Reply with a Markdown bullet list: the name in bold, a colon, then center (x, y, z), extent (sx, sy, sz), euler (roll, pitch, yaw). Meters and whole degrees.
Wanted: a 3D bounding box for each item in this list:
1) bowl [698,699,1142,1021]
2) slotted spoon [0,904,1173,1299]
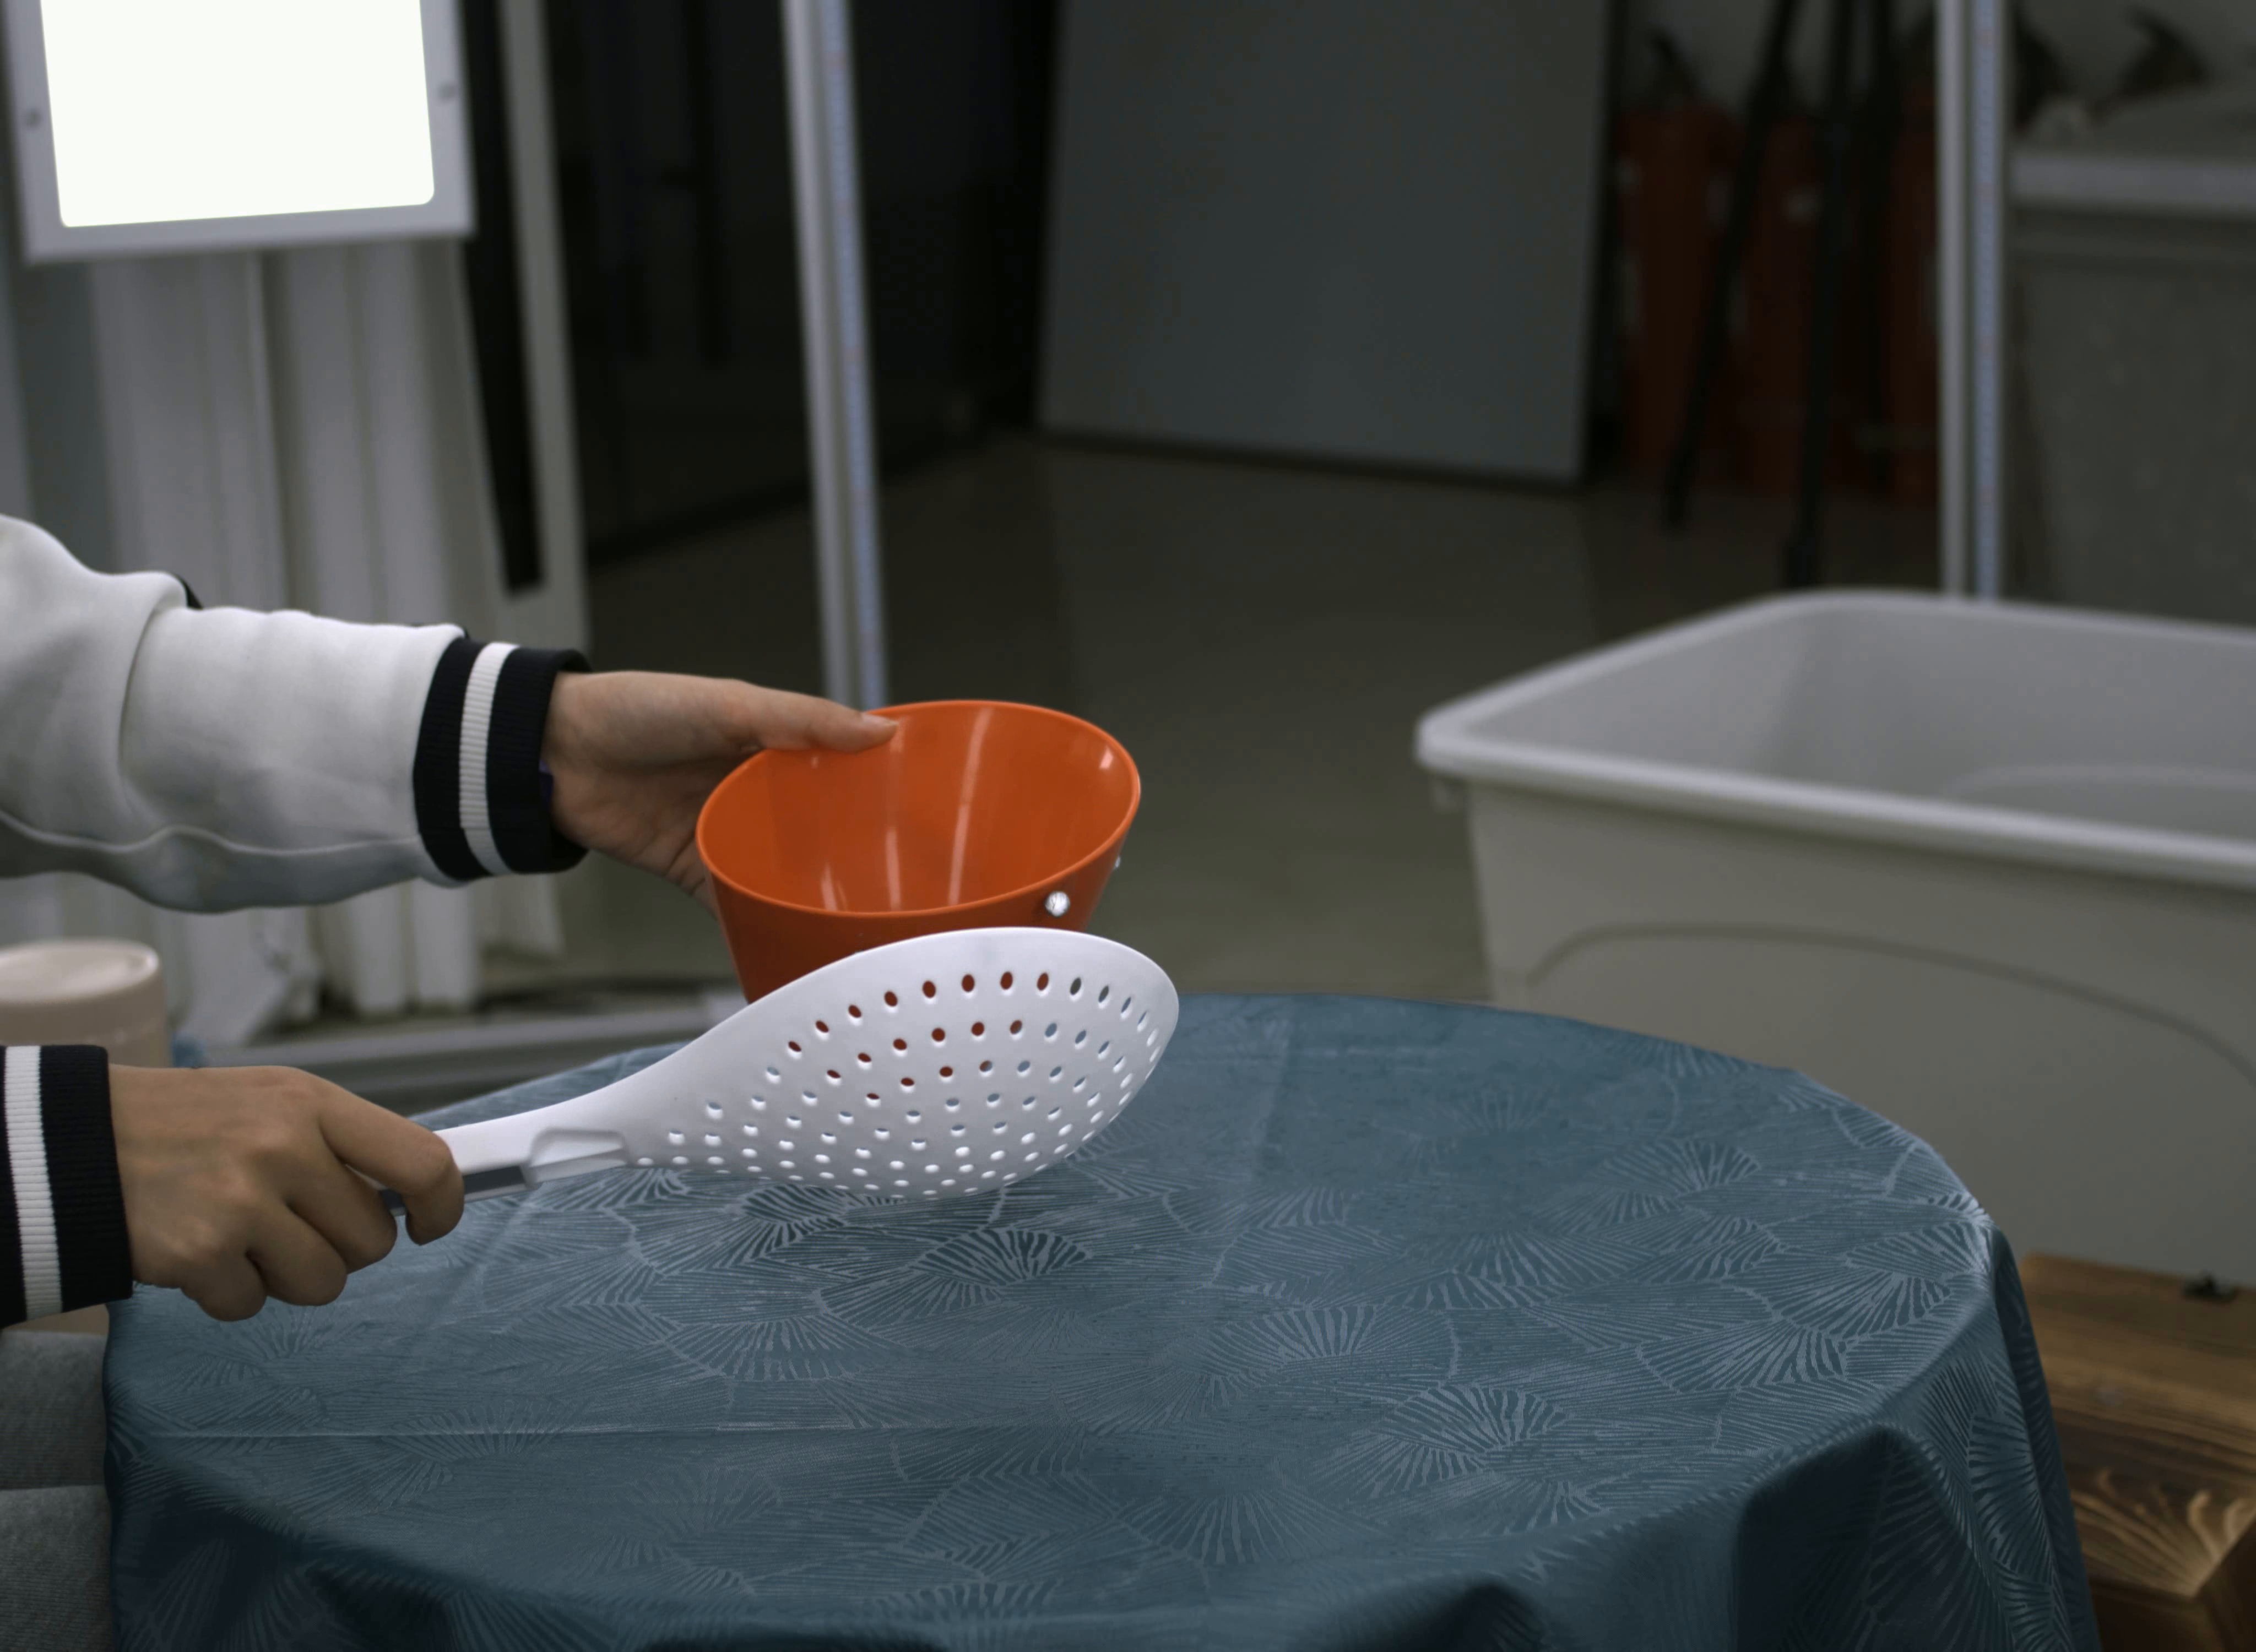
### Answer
- **bowl**: center (-0.069, 0.031, 1.792), extent (0.146, 0.105, 0.148), euler (1, 24, -1)
- **slotted spoon**: center (-0.156, 0.087, 1.521), extent (0.346, 0.046, 0.136), euler (-8, -31, 3)
